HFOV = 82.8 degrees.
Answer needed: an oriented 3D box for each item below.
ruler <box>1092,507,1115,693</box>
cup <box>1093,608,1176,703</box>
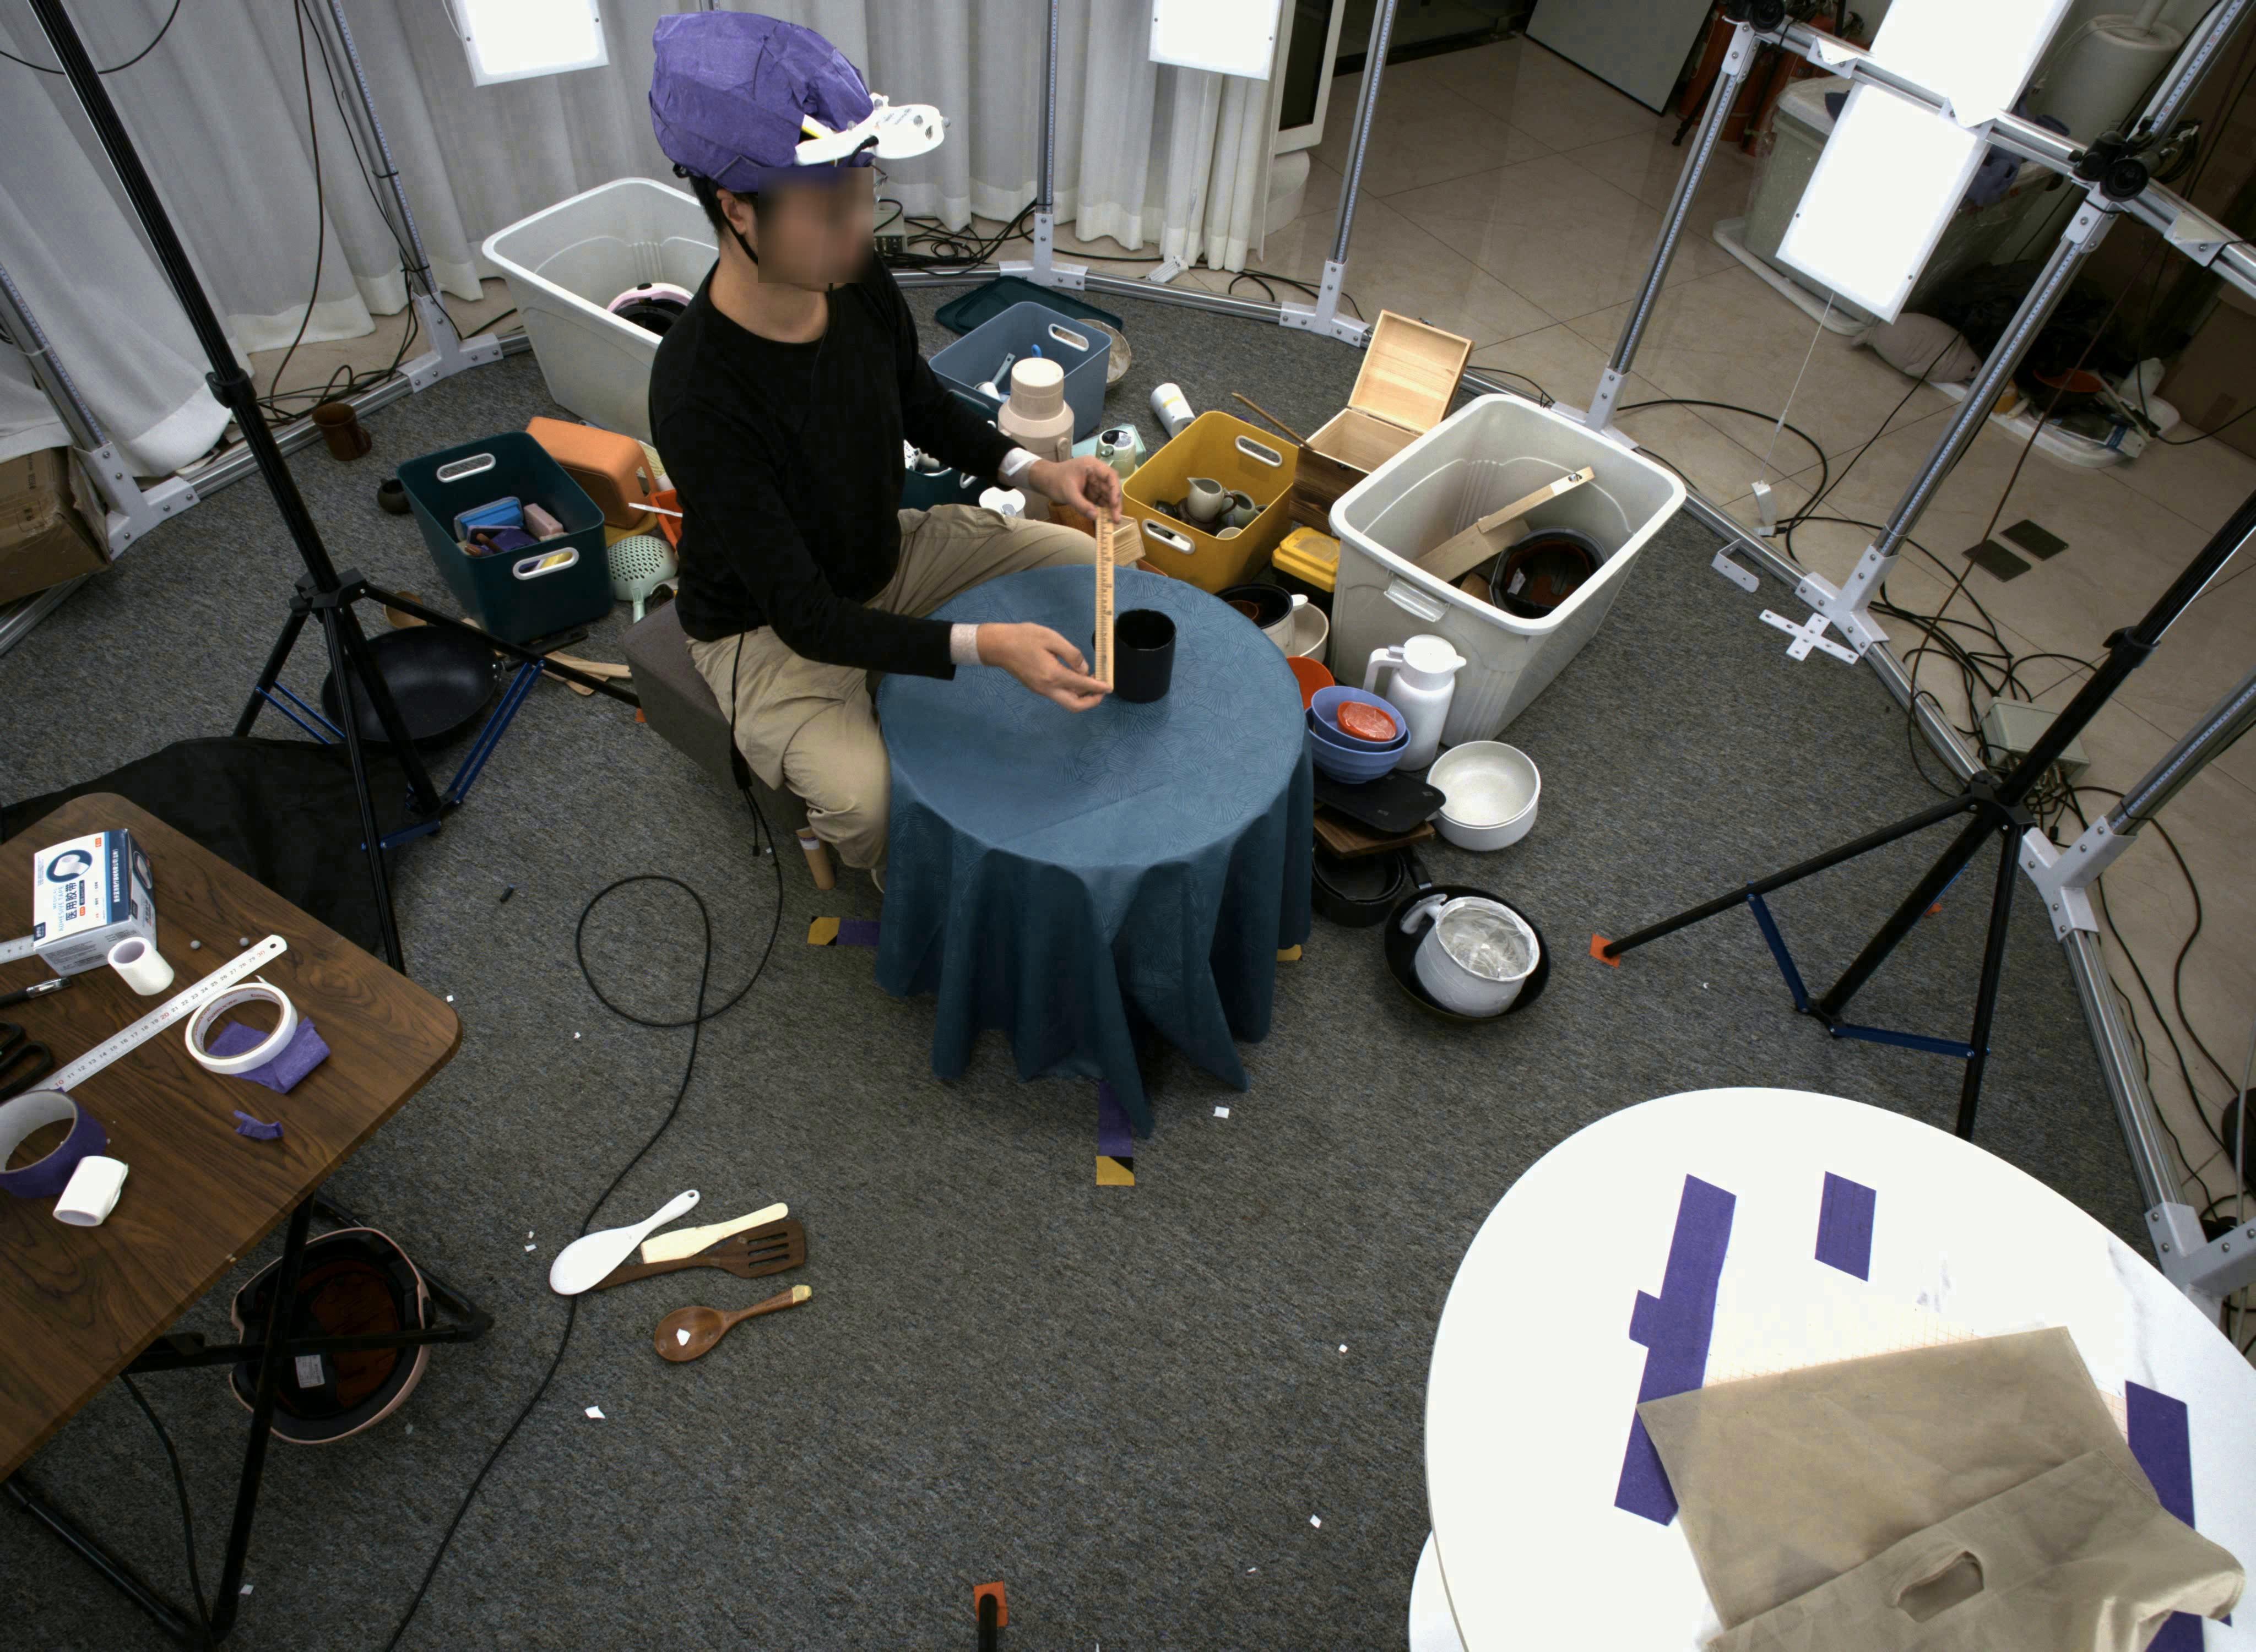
[{"bbox_3d":[-0.033,-0.321,1.779,0.027,0.022,0.339,9,55,-12],"label":"ruler"},{"bbox_3d":[0.005,-0.248,1.818,0.124,0.103,0.090,26,54,16],"label":"cup"}]
